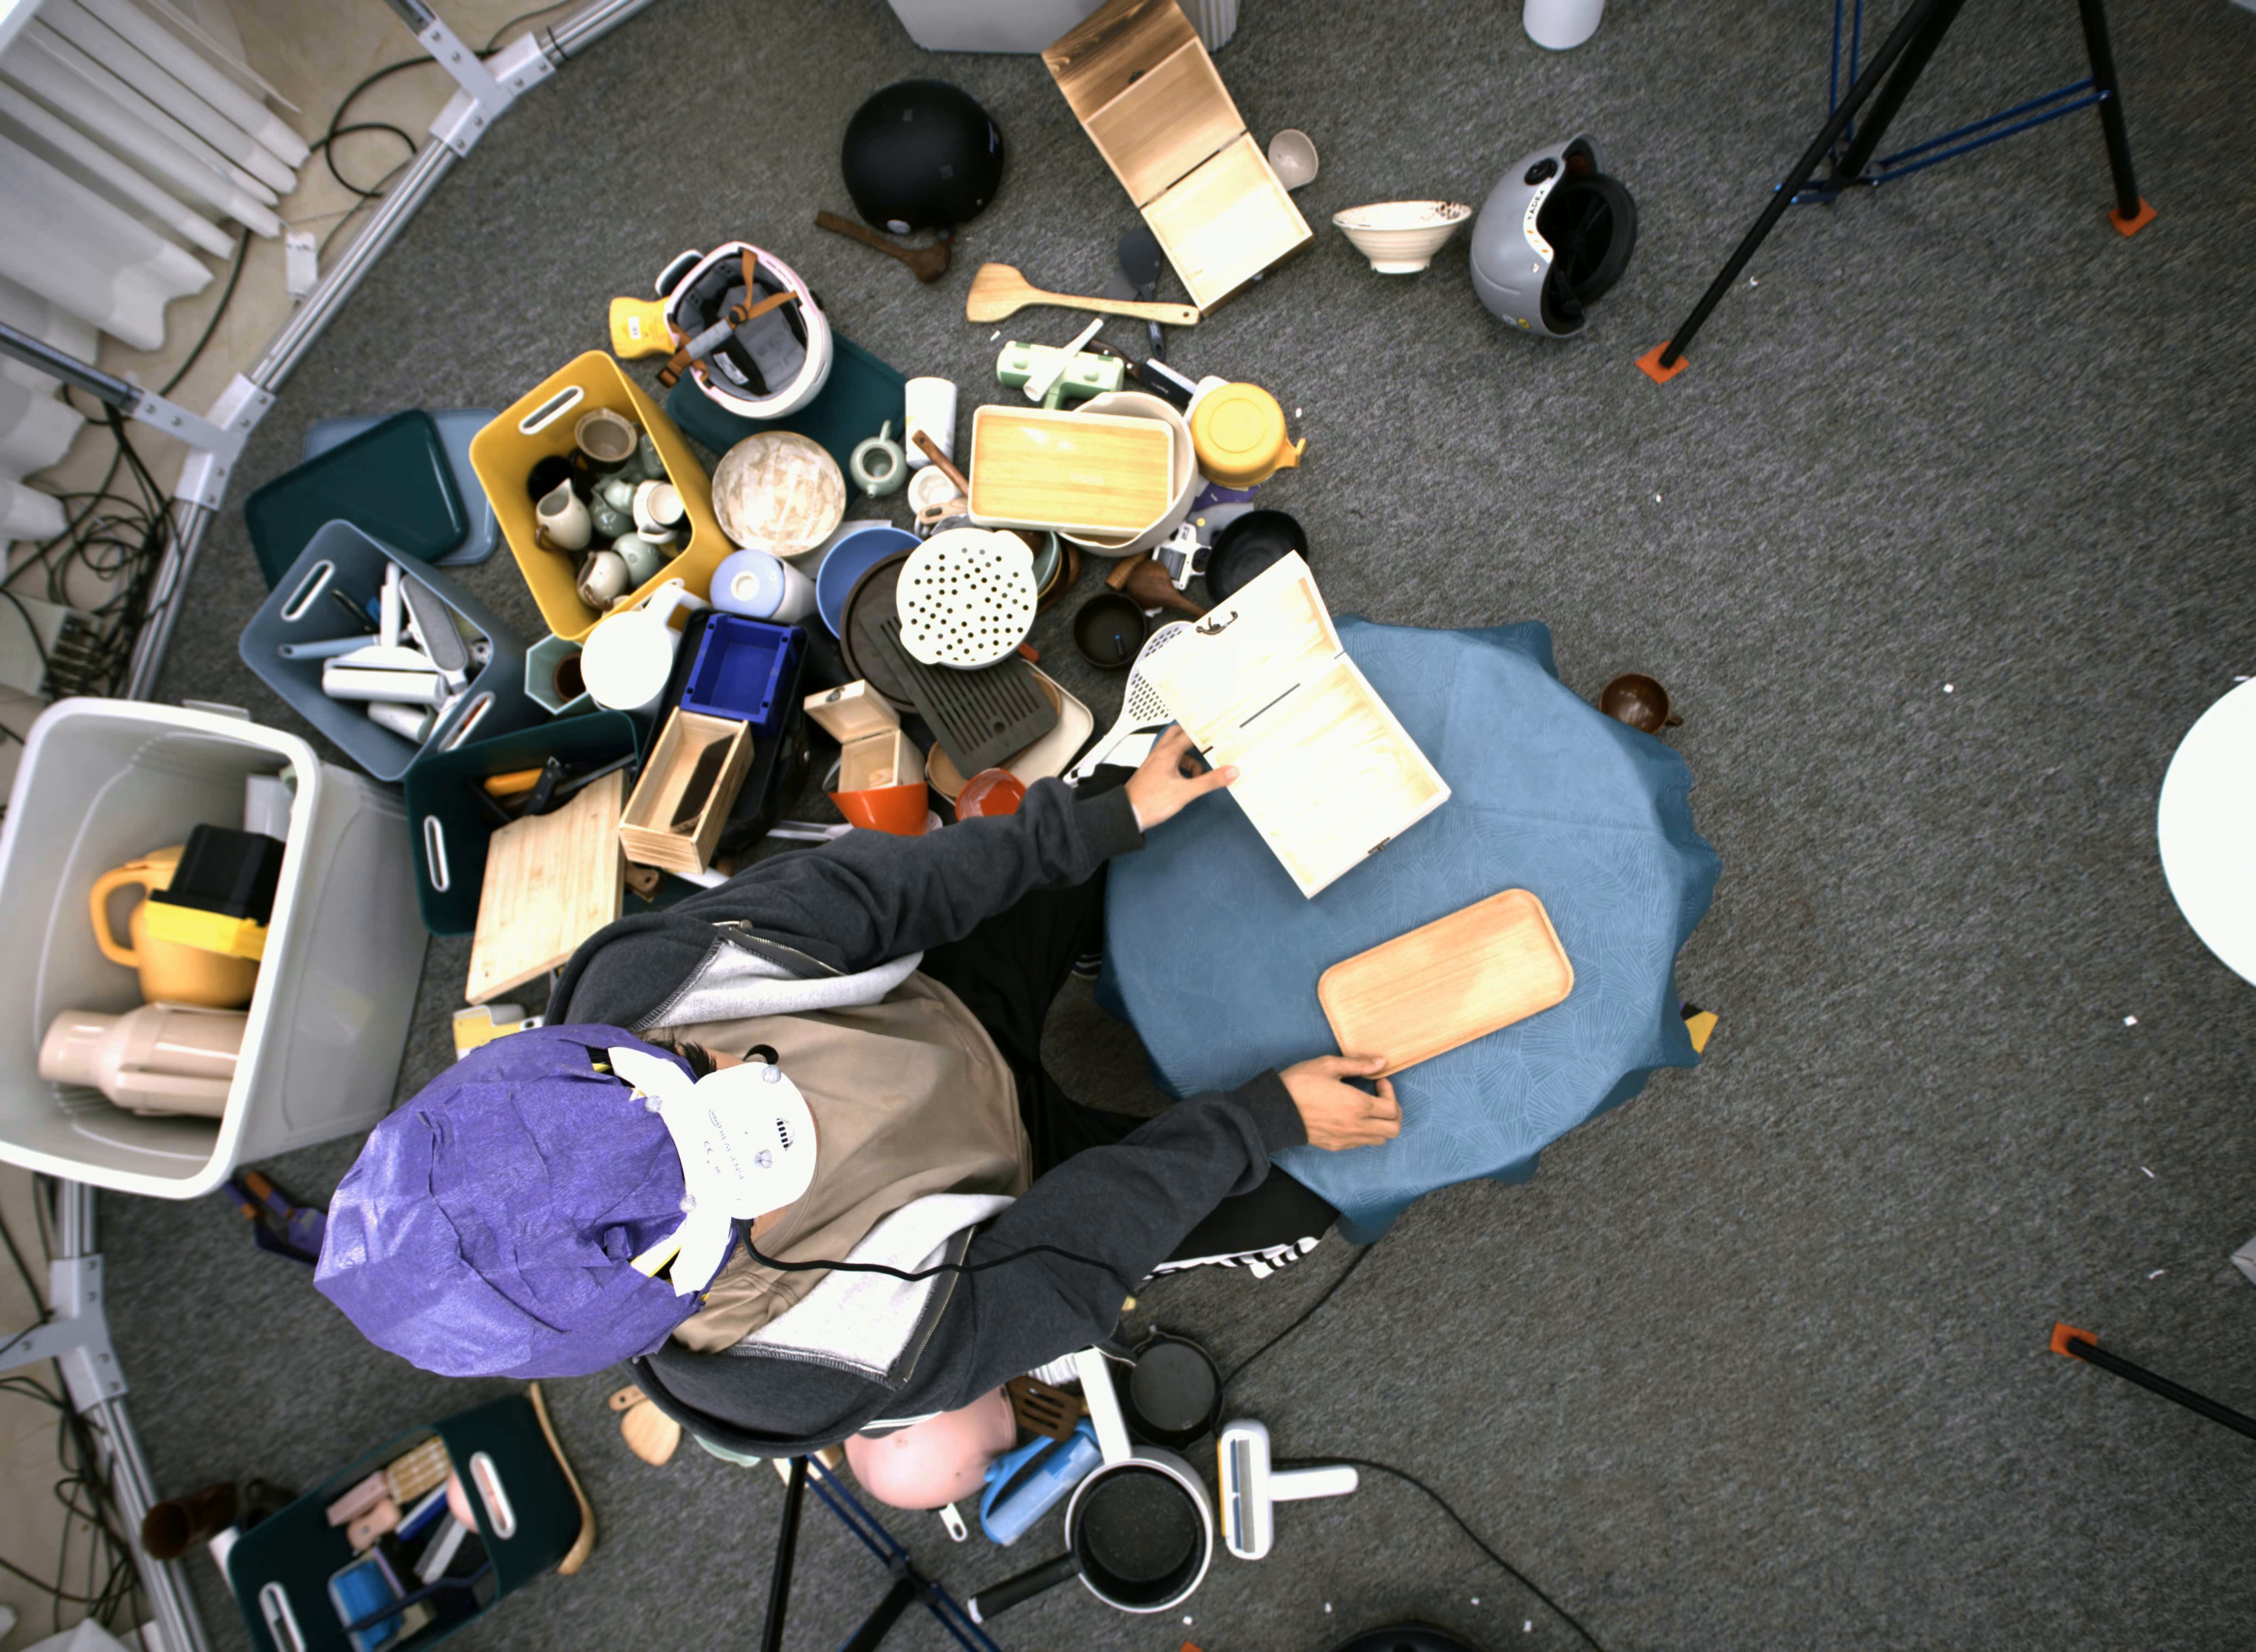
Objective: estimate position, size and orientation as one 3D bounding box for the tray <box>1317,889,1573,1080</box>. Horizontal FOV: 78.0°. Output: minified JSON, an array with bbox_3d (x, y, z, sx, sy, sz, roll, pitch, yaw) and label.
[{"bbox_3d":[0.328,0.163,1.434,0.252,0.023,0.129,-24,80,9],"label":"tray"}]

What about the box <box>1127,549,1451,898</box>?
[{"bbox_3d":[0.170,-0.087,1.363,0.183,0.253,0.263,-37,79,7],"label":"box"}]
